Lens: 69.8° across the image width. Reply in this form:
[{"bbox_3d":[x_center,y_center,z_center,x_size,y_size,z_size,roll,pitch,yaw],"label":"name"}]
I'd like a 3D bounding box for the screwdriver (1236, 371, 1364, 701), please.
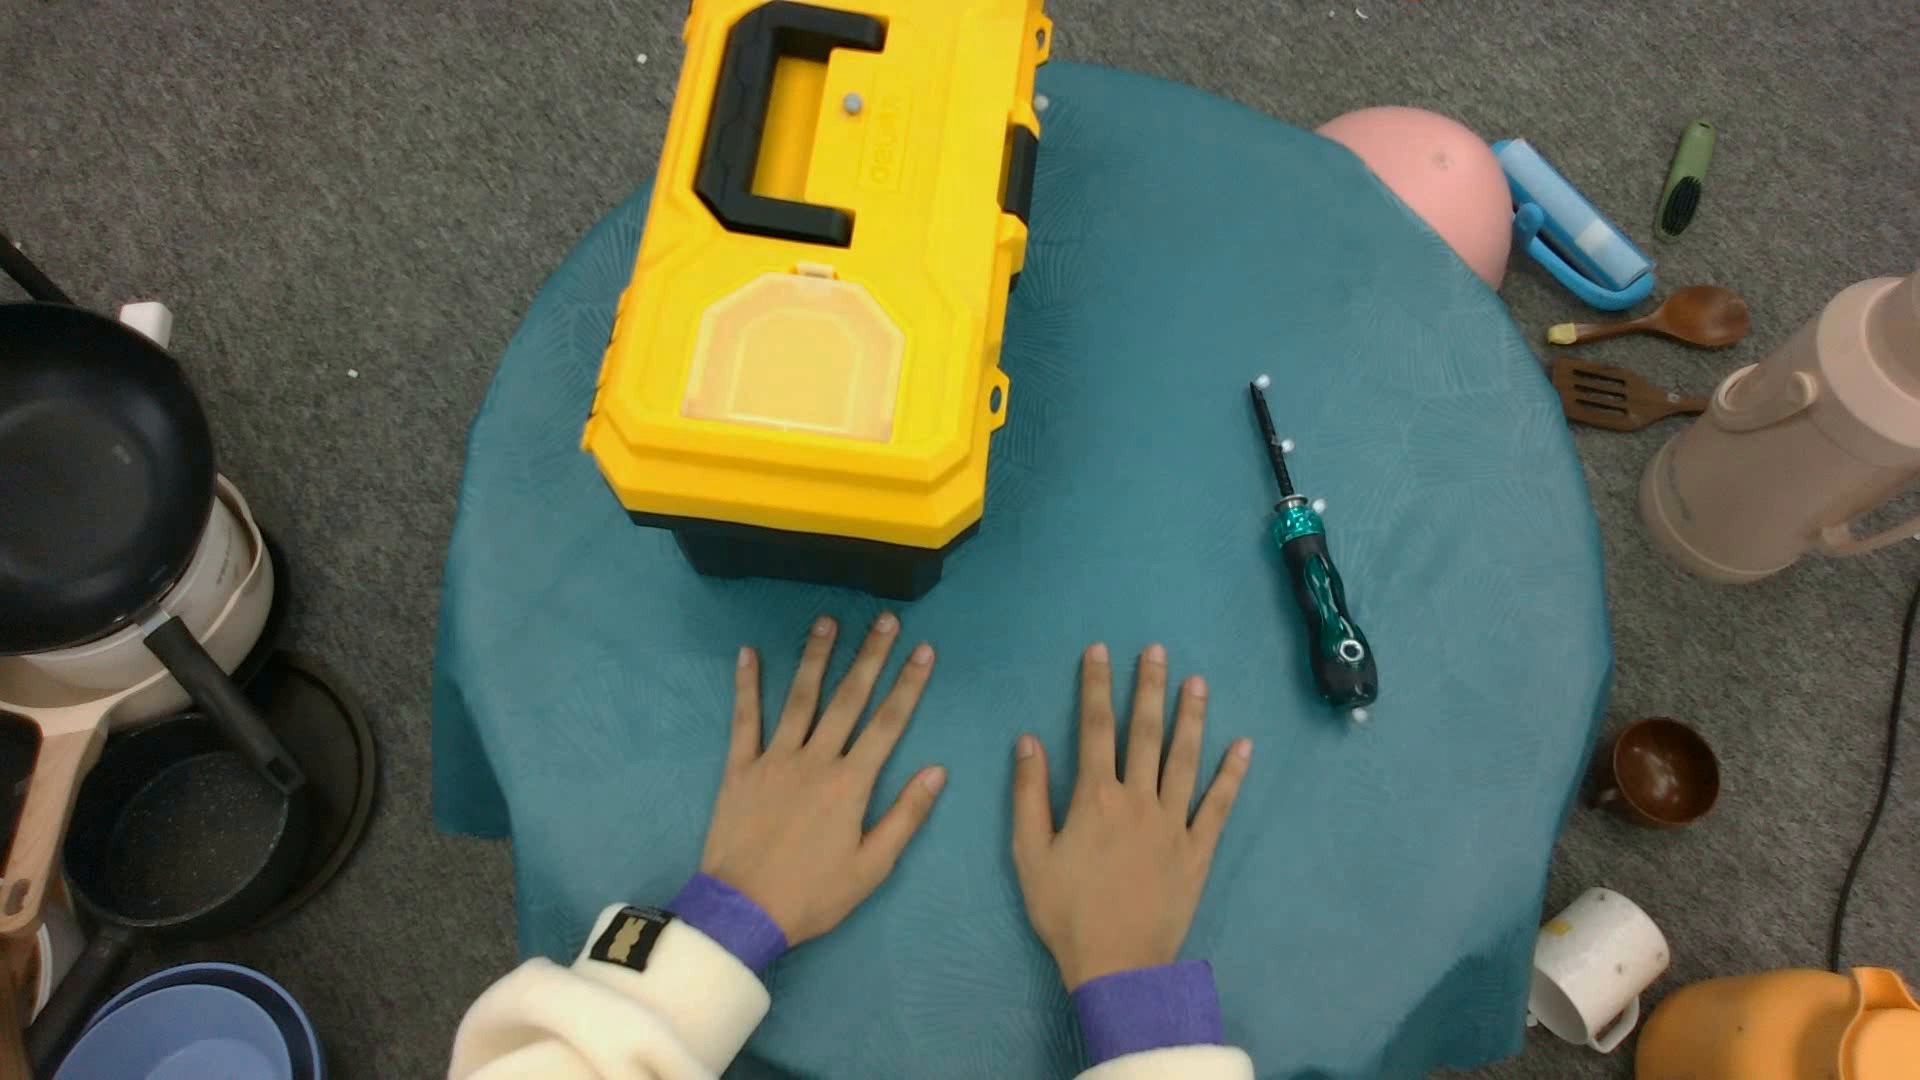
[{"bbox_3d":[0.170,-0.008,0.717,0.034,0.033,0.190,-8,64,-7],"label":"screwdriver"}]

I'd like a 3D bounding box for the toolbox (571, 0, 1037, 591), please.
[{"bbox_3d":[-0.064,-0.156,0.680,0.181,0.172,0.352,8,67,-1],"label":"toolbox"}]
